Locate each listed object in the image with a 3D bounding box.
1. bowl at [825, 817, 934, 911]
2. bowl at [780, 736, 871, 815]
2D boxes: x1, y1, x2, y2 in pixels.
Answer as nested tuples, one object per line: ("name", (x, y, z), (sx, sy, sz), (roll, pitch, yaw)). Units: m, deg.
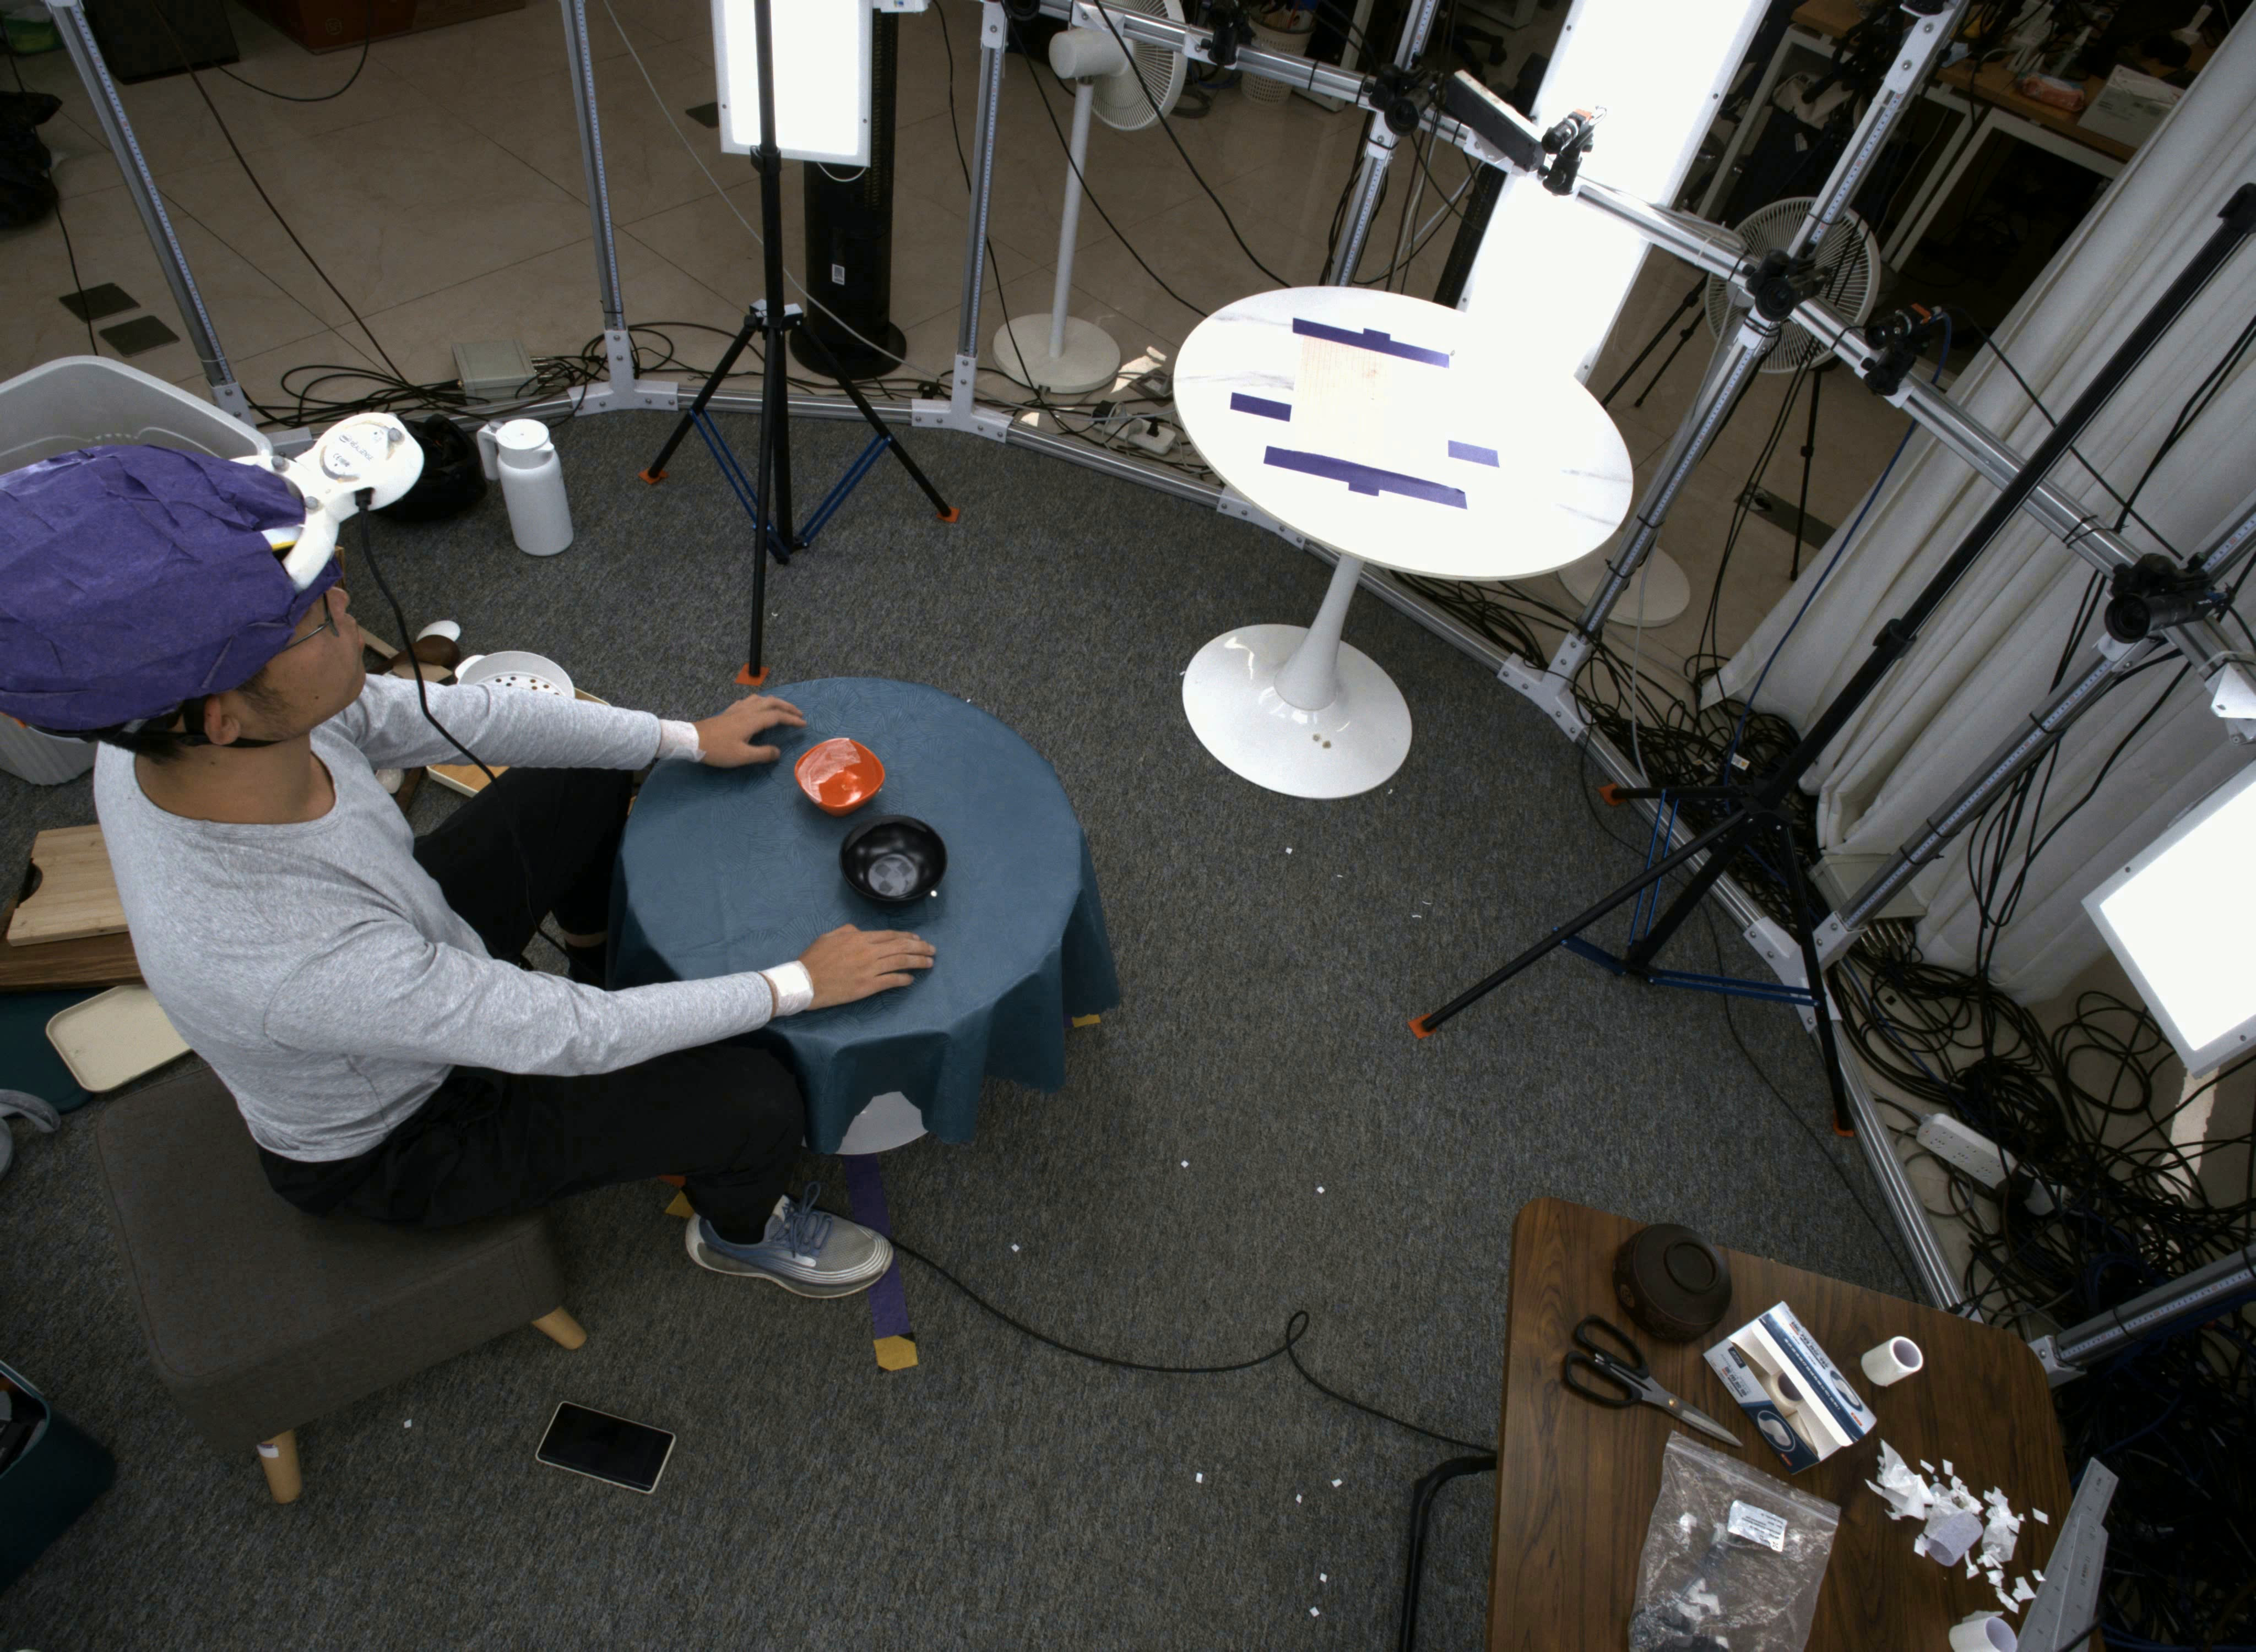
("bowl", (-0.322, 0.056, 1.690), (0.139, 0.051, 0.137), (6, 54, -6))
("bowl", (-0.409, -0.061, 1.747), (0.119, 0.052, 0.116), (11, 49, -11))
